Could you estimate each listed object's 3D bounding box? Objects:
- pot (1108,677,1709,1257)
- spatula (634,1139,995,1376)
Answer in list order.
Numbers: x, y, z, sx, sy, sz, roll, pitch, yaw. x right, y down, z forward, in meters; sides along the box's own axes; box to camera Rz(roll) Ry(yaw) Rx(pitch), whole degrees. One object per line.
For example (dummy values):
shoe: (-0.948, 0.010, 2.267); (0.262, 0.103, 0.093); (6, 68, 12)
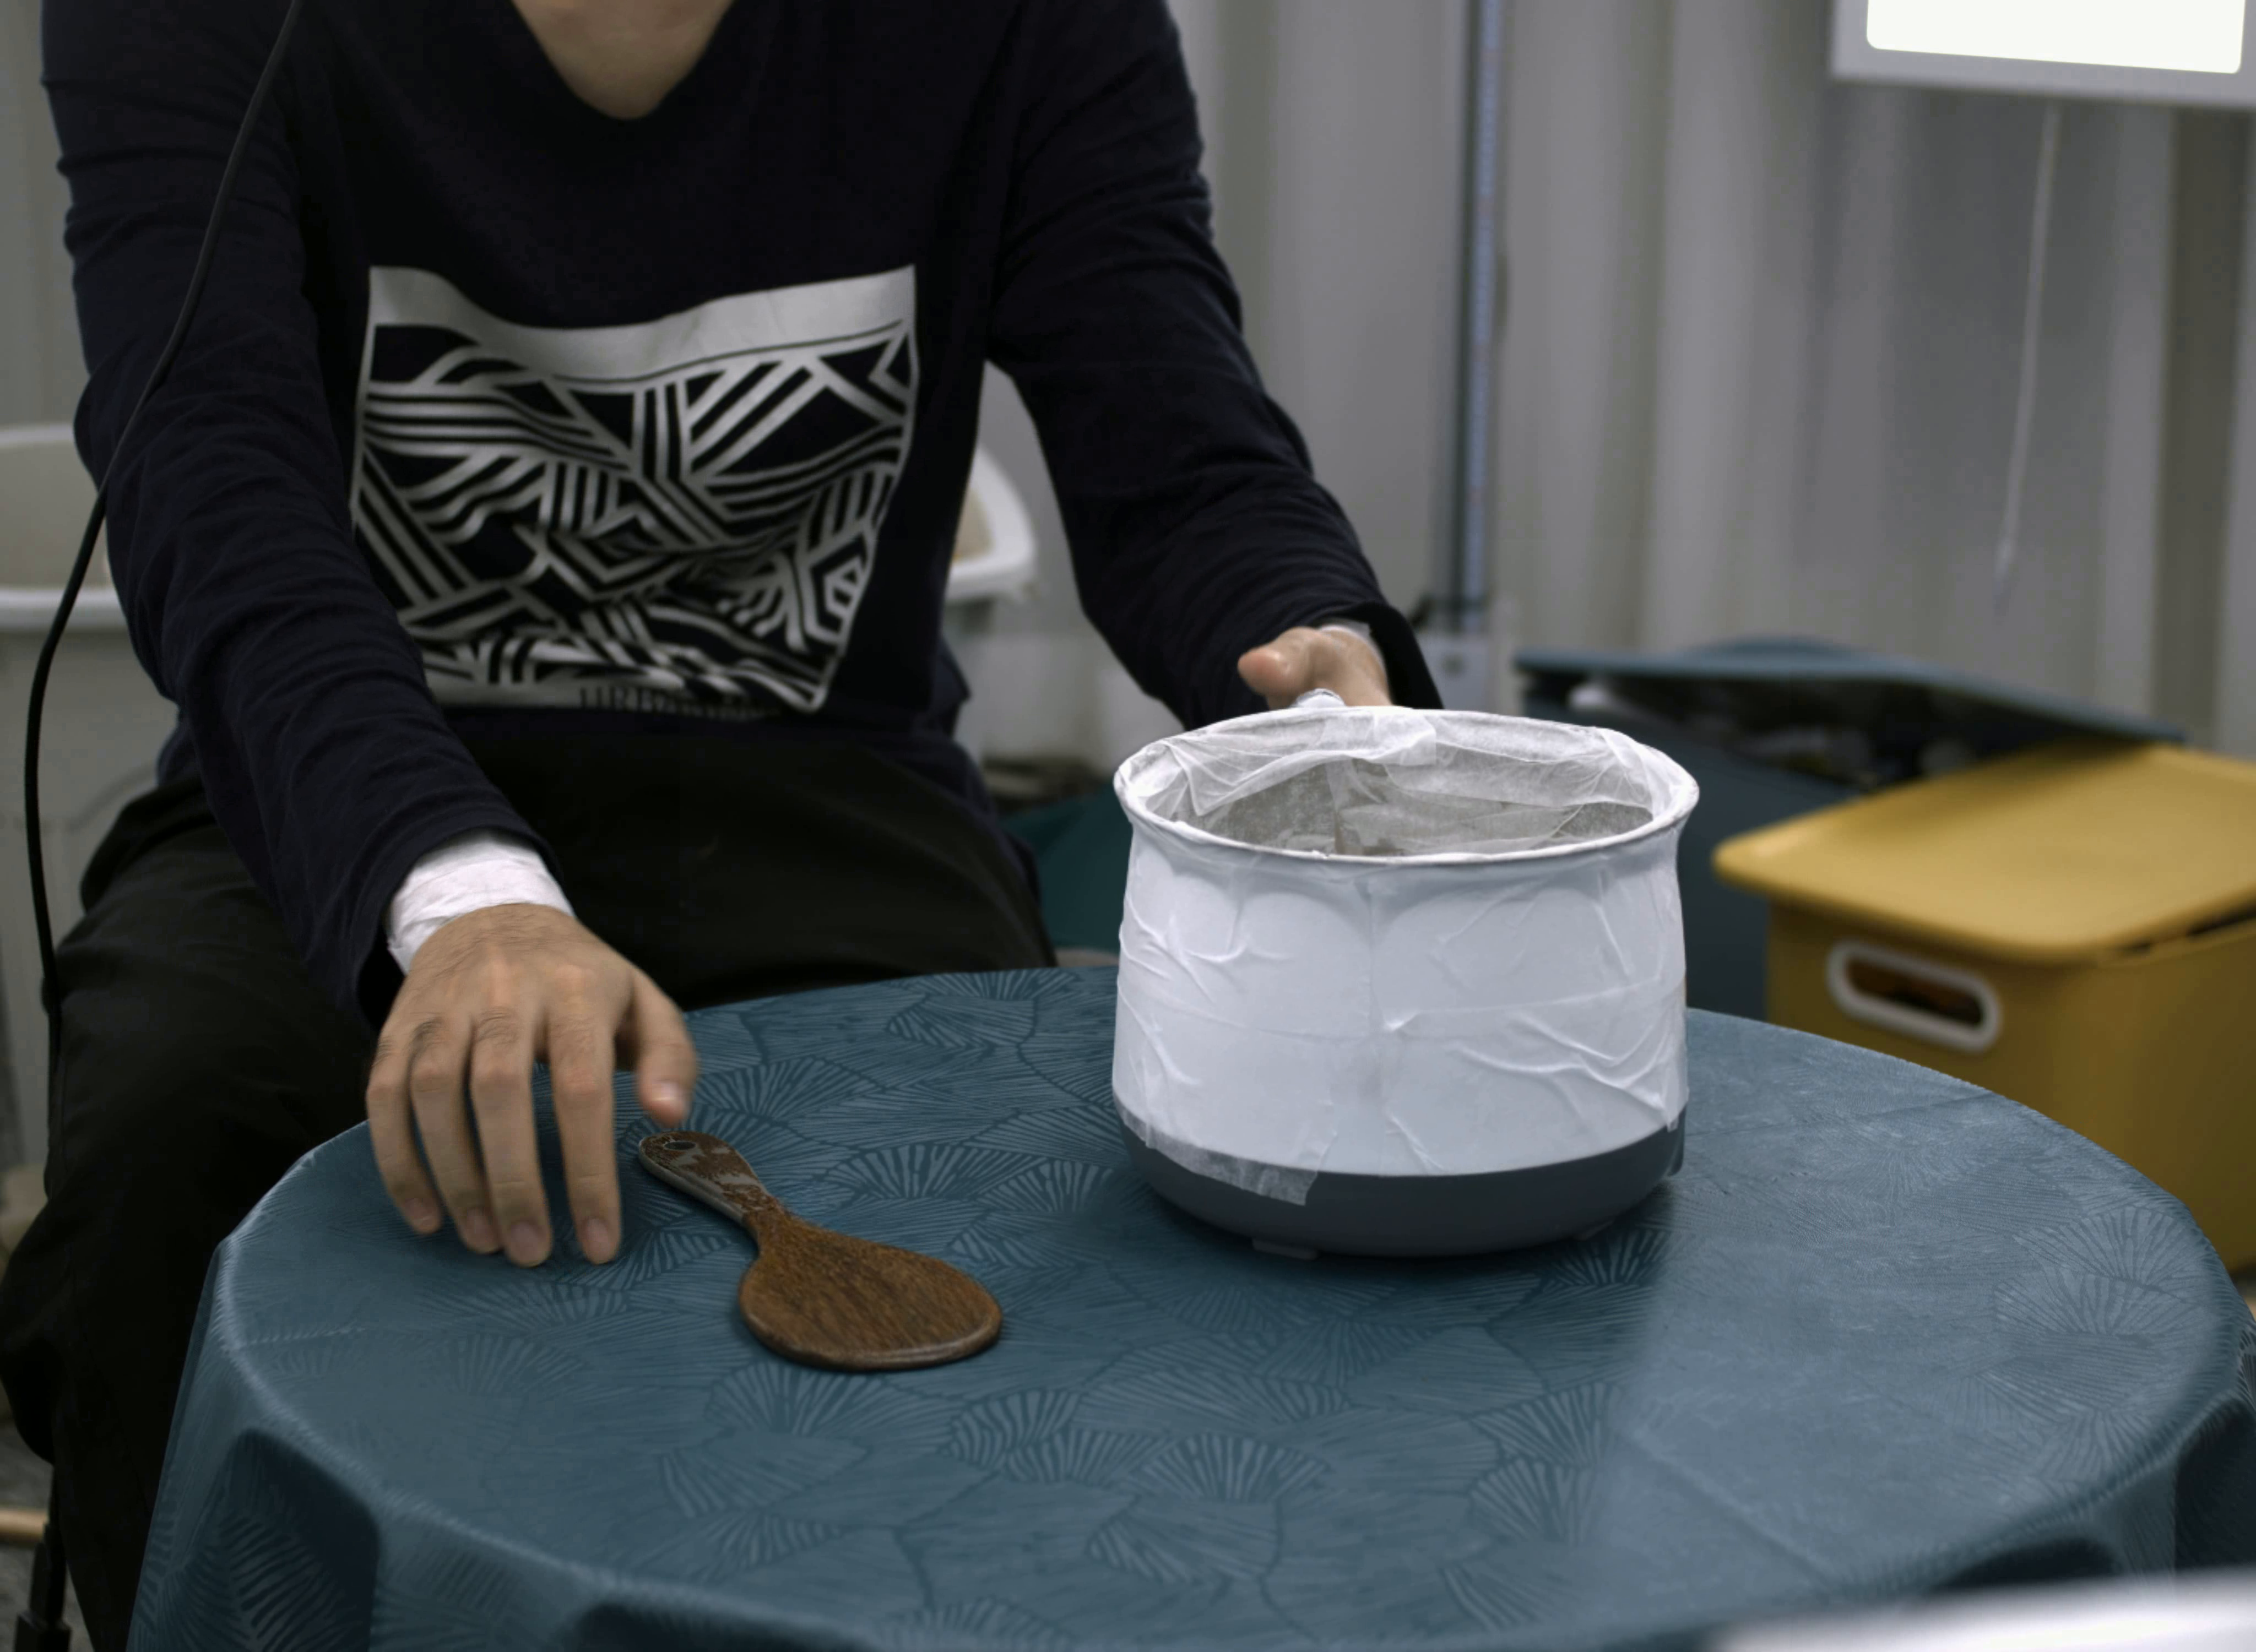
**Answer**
pot: (0.077, 0.038, 1.632); (0.179, 0.138, 0.231); (-1, 17, -15)
spatula: (-0.102, 0.125, 1.568); (0.072, 0.009, 0.213); (-4, 15, -24)
